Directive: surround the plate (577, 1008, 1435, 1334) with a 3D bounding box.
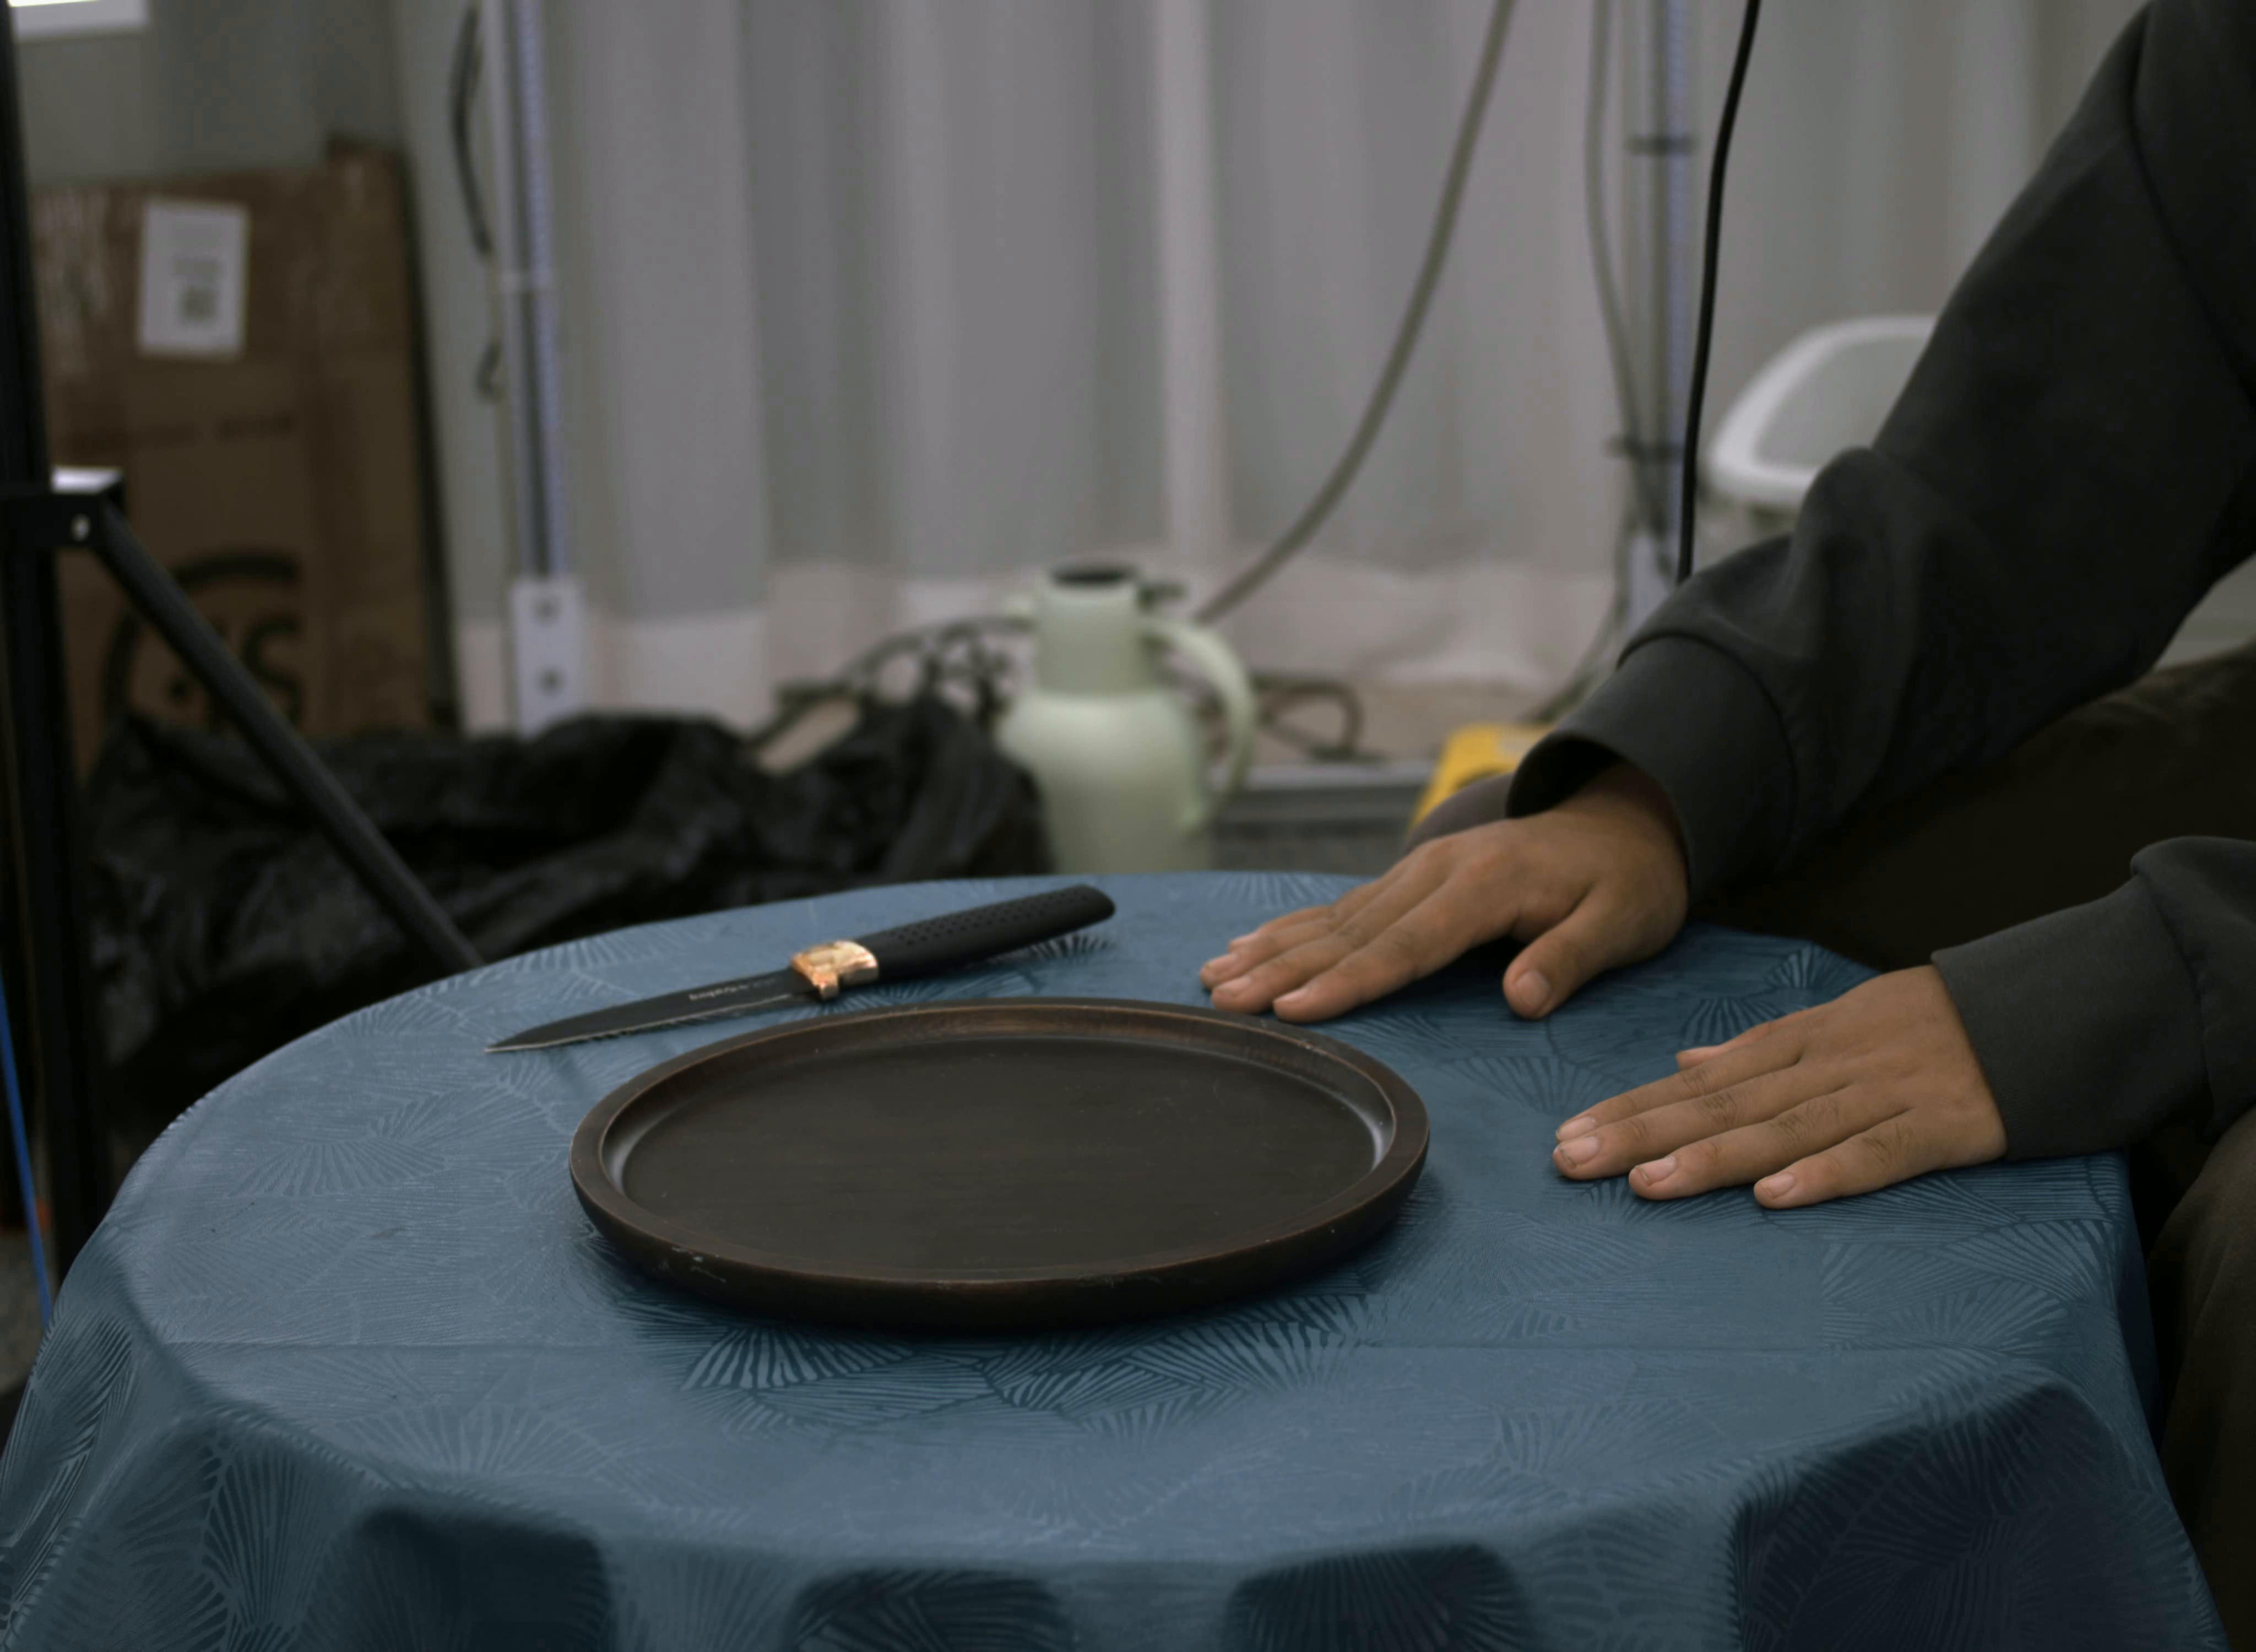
[{"bbox_3d":[-0.035,0.098,1.555,0.253,0.029,0.256,-2,14,-1],"label":"plate"}]

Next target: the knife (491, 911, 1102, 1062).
[{"bbox_3d":[-0.106,0.053,1.748,0.221,0.017,0.027,-11,23,-24],"label":"knife"}]
